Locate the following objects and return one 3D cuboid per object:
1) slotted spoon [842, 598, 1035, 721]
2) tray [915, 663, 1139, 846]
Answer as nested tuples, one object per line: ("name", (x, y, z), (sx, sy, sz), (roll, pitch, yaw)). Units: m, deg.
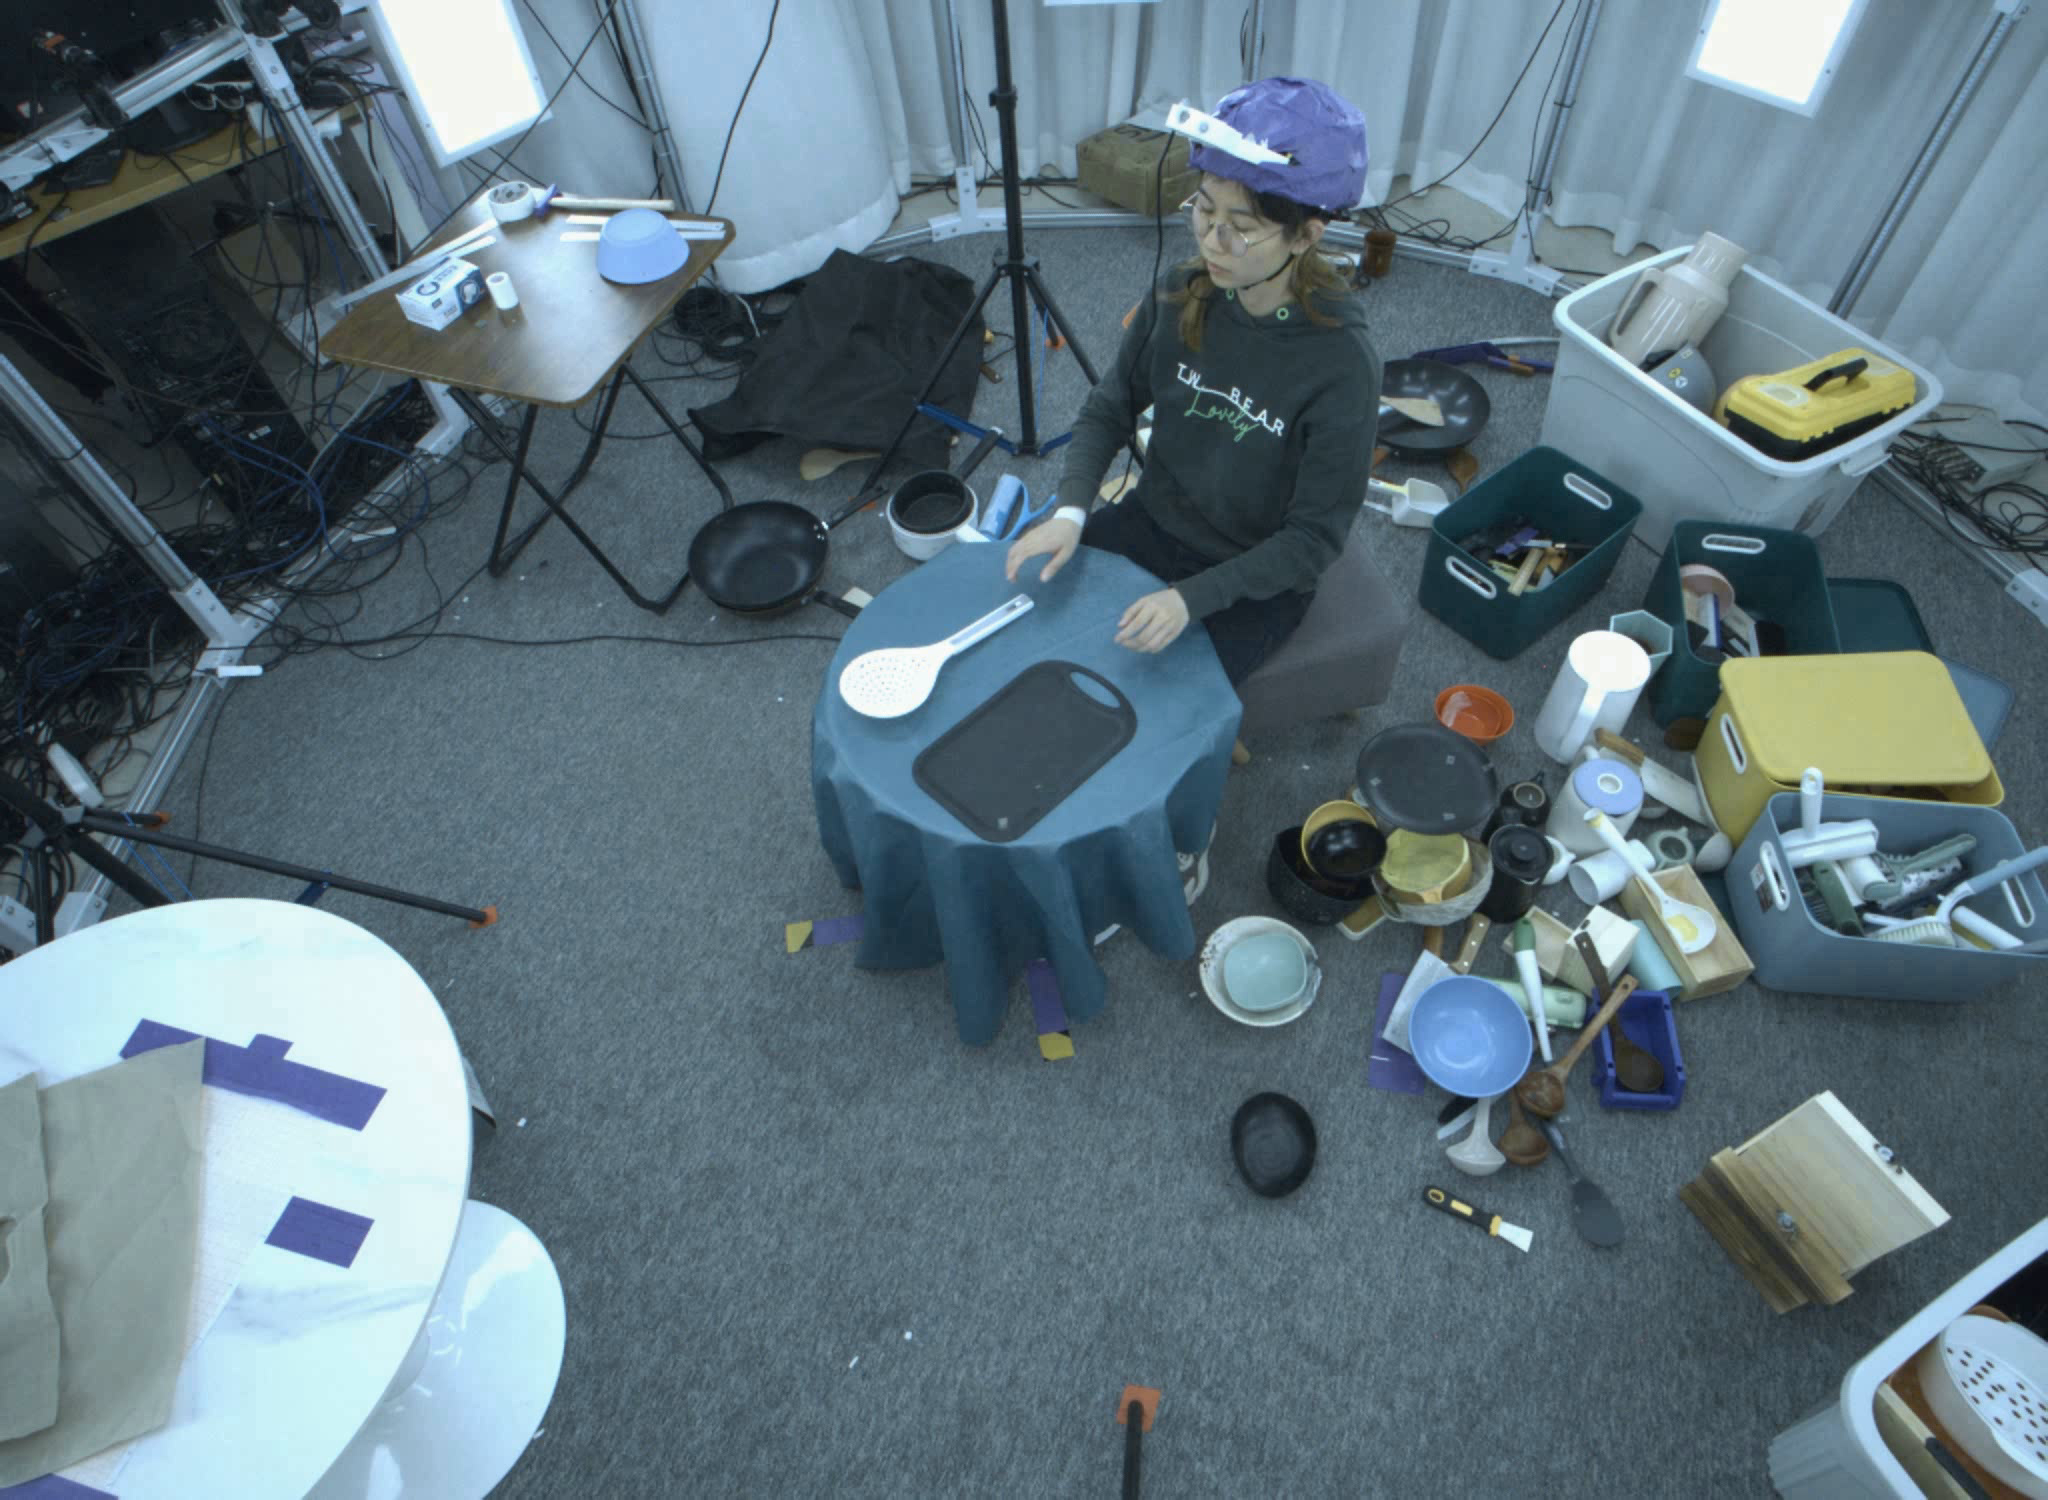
("slotted spoon", (-0.122, -0.146, 1.876), (0.352, 0.046, 0.133), (-36, 62, -22))
("tray", (0.011, -0.006, 1.798), (0.207, 0.010, 0.328), (39, 64, 25))
